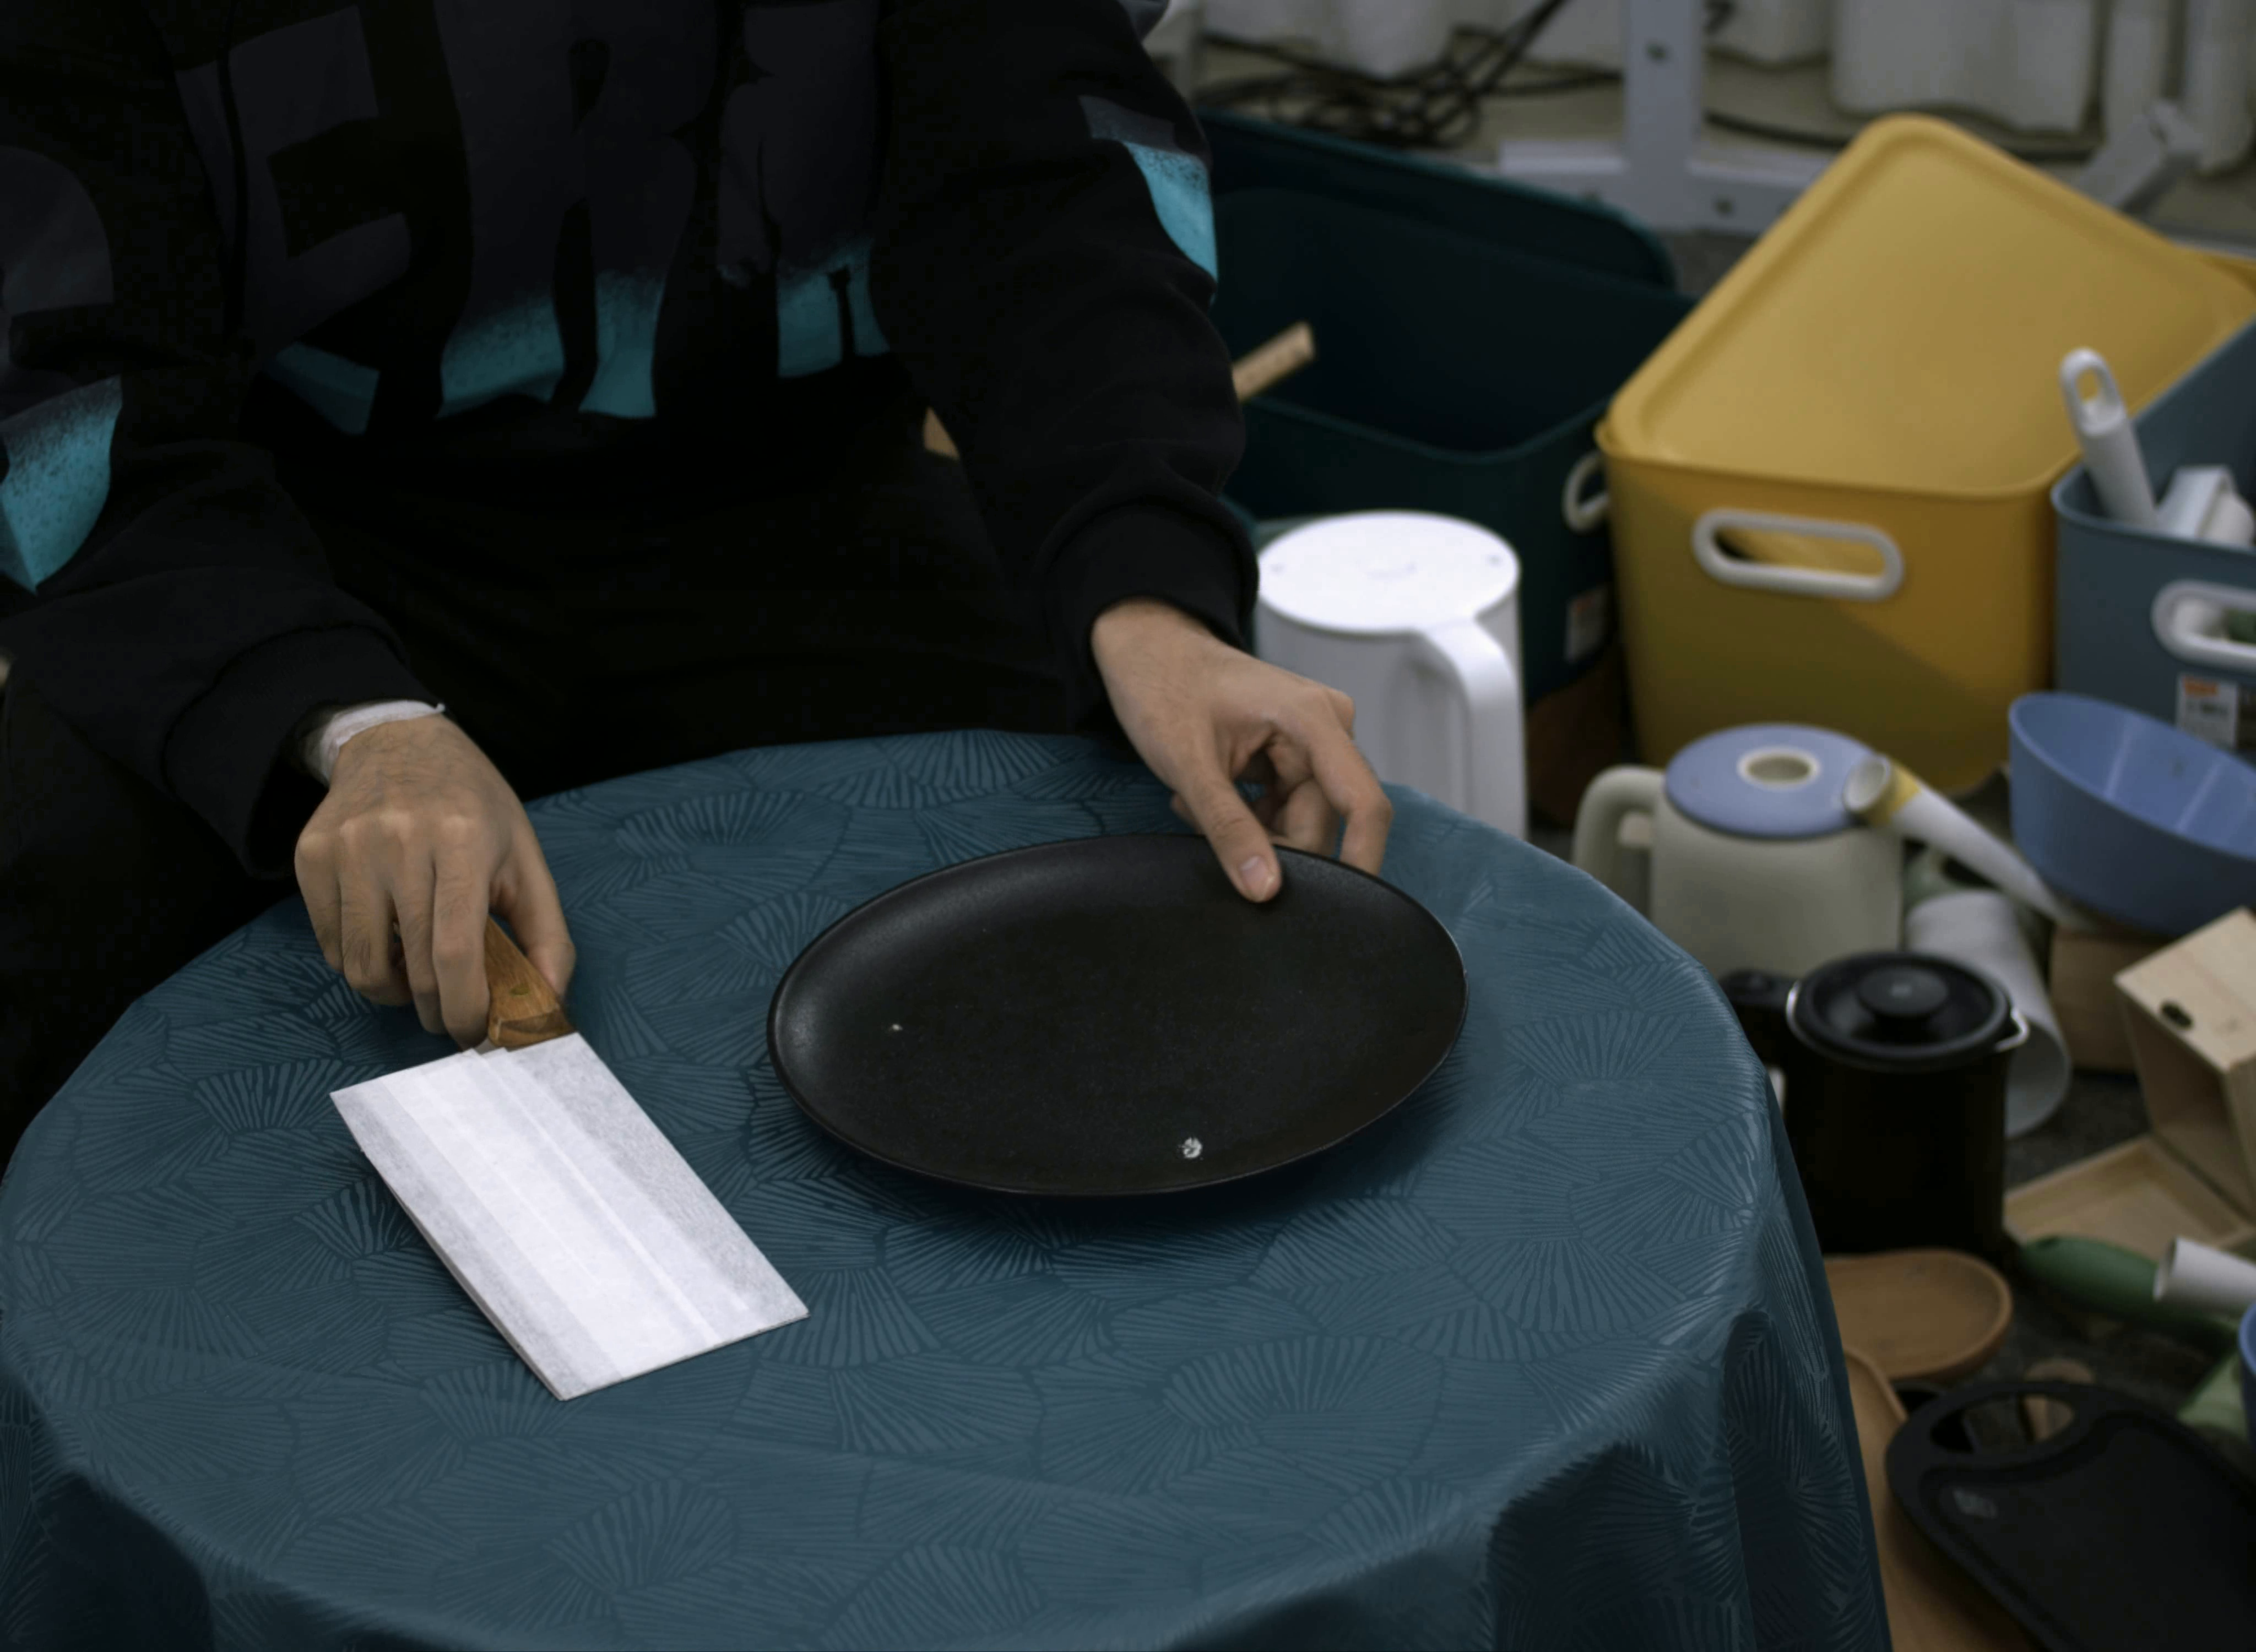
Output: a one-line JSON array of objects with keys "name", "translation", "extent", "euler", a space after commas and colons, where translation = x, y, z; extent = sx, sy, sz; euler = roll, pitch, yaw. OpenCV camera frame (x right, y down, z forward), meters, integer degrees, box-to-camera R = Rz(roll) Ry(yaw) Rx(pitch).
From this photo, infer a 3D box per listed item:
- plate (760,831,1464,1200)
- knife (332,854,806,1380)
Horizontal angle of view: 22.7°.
[{"name": "plate", "translation": [-0.005, 0.070, 1.934], "extent": [0.243, 0.023, 0.248], "euler": [-3, 28, 2]}, {"name": "knife", "translation": [-0.213, 0.097, 1.895], "extent": [0.093, 0.021, 0.308], "euler": [-17, 36, -24]}]
